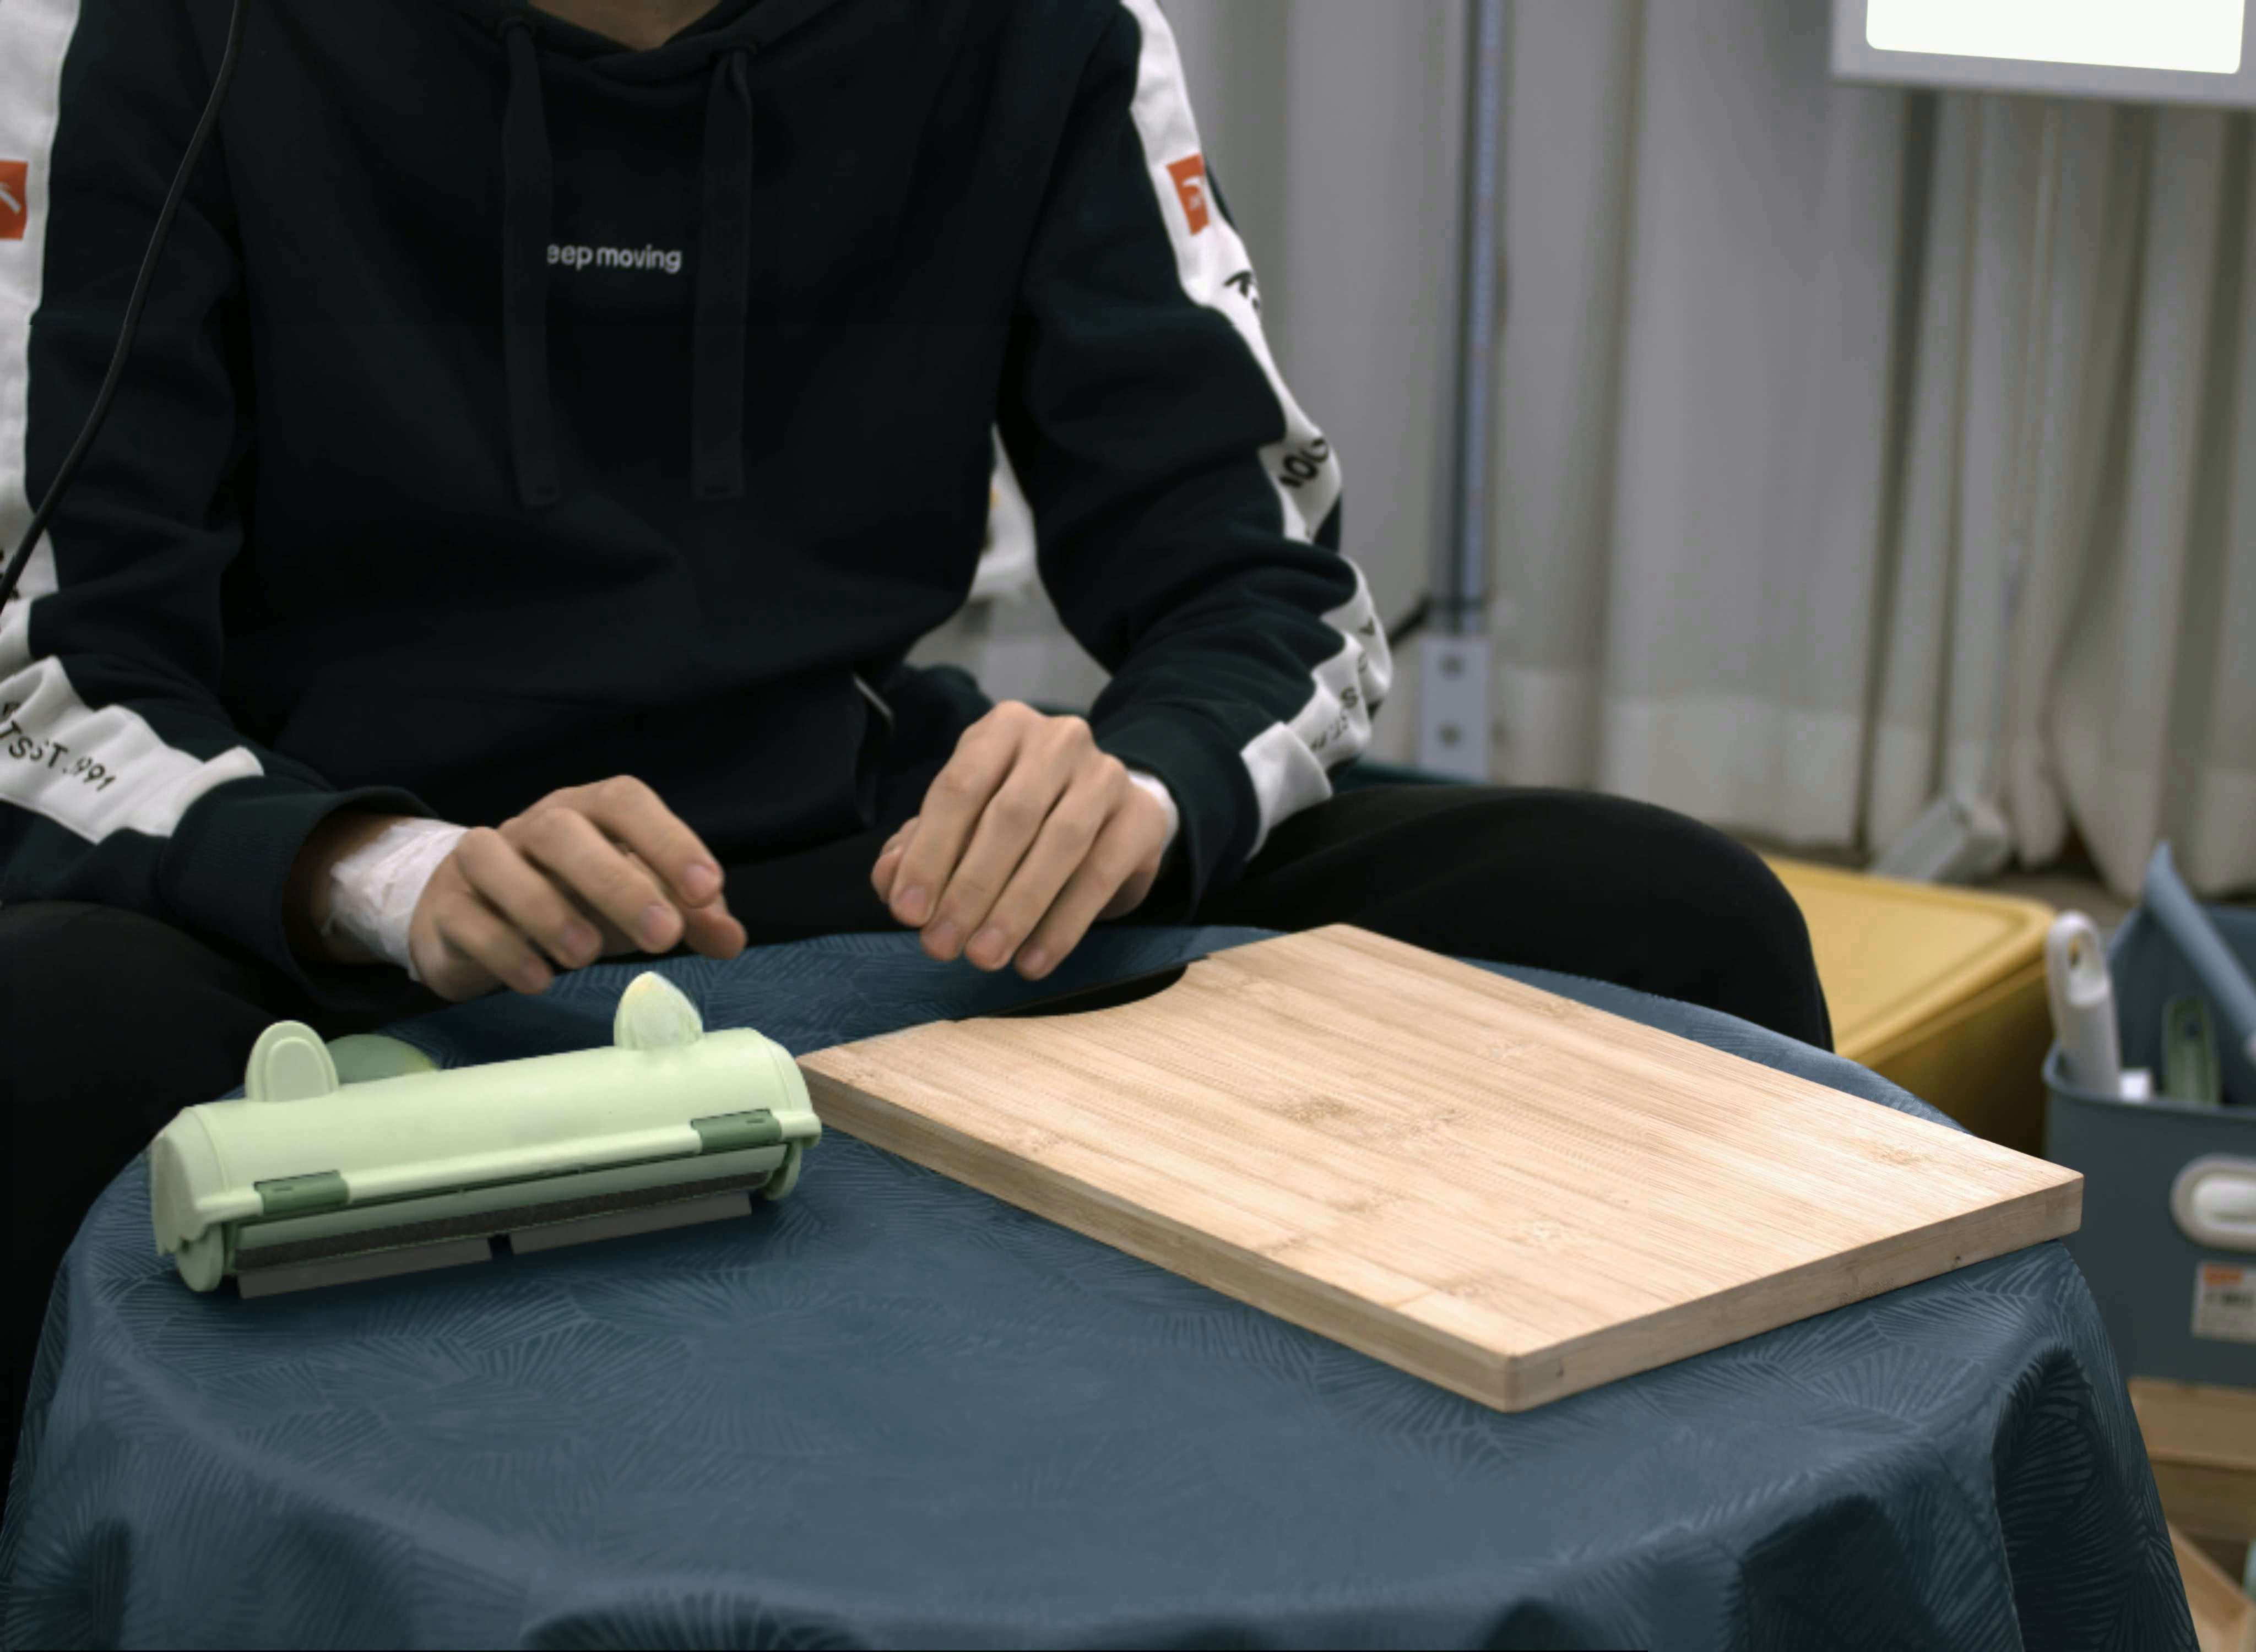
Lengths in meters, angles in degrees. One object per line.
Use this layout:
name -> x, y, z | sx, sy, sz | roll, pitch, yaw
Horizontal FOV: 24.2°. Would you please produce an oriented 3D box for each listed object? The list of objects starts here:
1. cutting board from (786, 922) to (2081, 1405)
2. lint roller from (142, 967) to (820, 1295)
cutting board -> 0.088, 0.098, 1.644 | 0.252, 0.024, 0.344 | -12, 20, -39
lint roller -> -0.216, 0.074, 1.605 | 0.199, 0.083, 0.181 | -8, 22, -26
